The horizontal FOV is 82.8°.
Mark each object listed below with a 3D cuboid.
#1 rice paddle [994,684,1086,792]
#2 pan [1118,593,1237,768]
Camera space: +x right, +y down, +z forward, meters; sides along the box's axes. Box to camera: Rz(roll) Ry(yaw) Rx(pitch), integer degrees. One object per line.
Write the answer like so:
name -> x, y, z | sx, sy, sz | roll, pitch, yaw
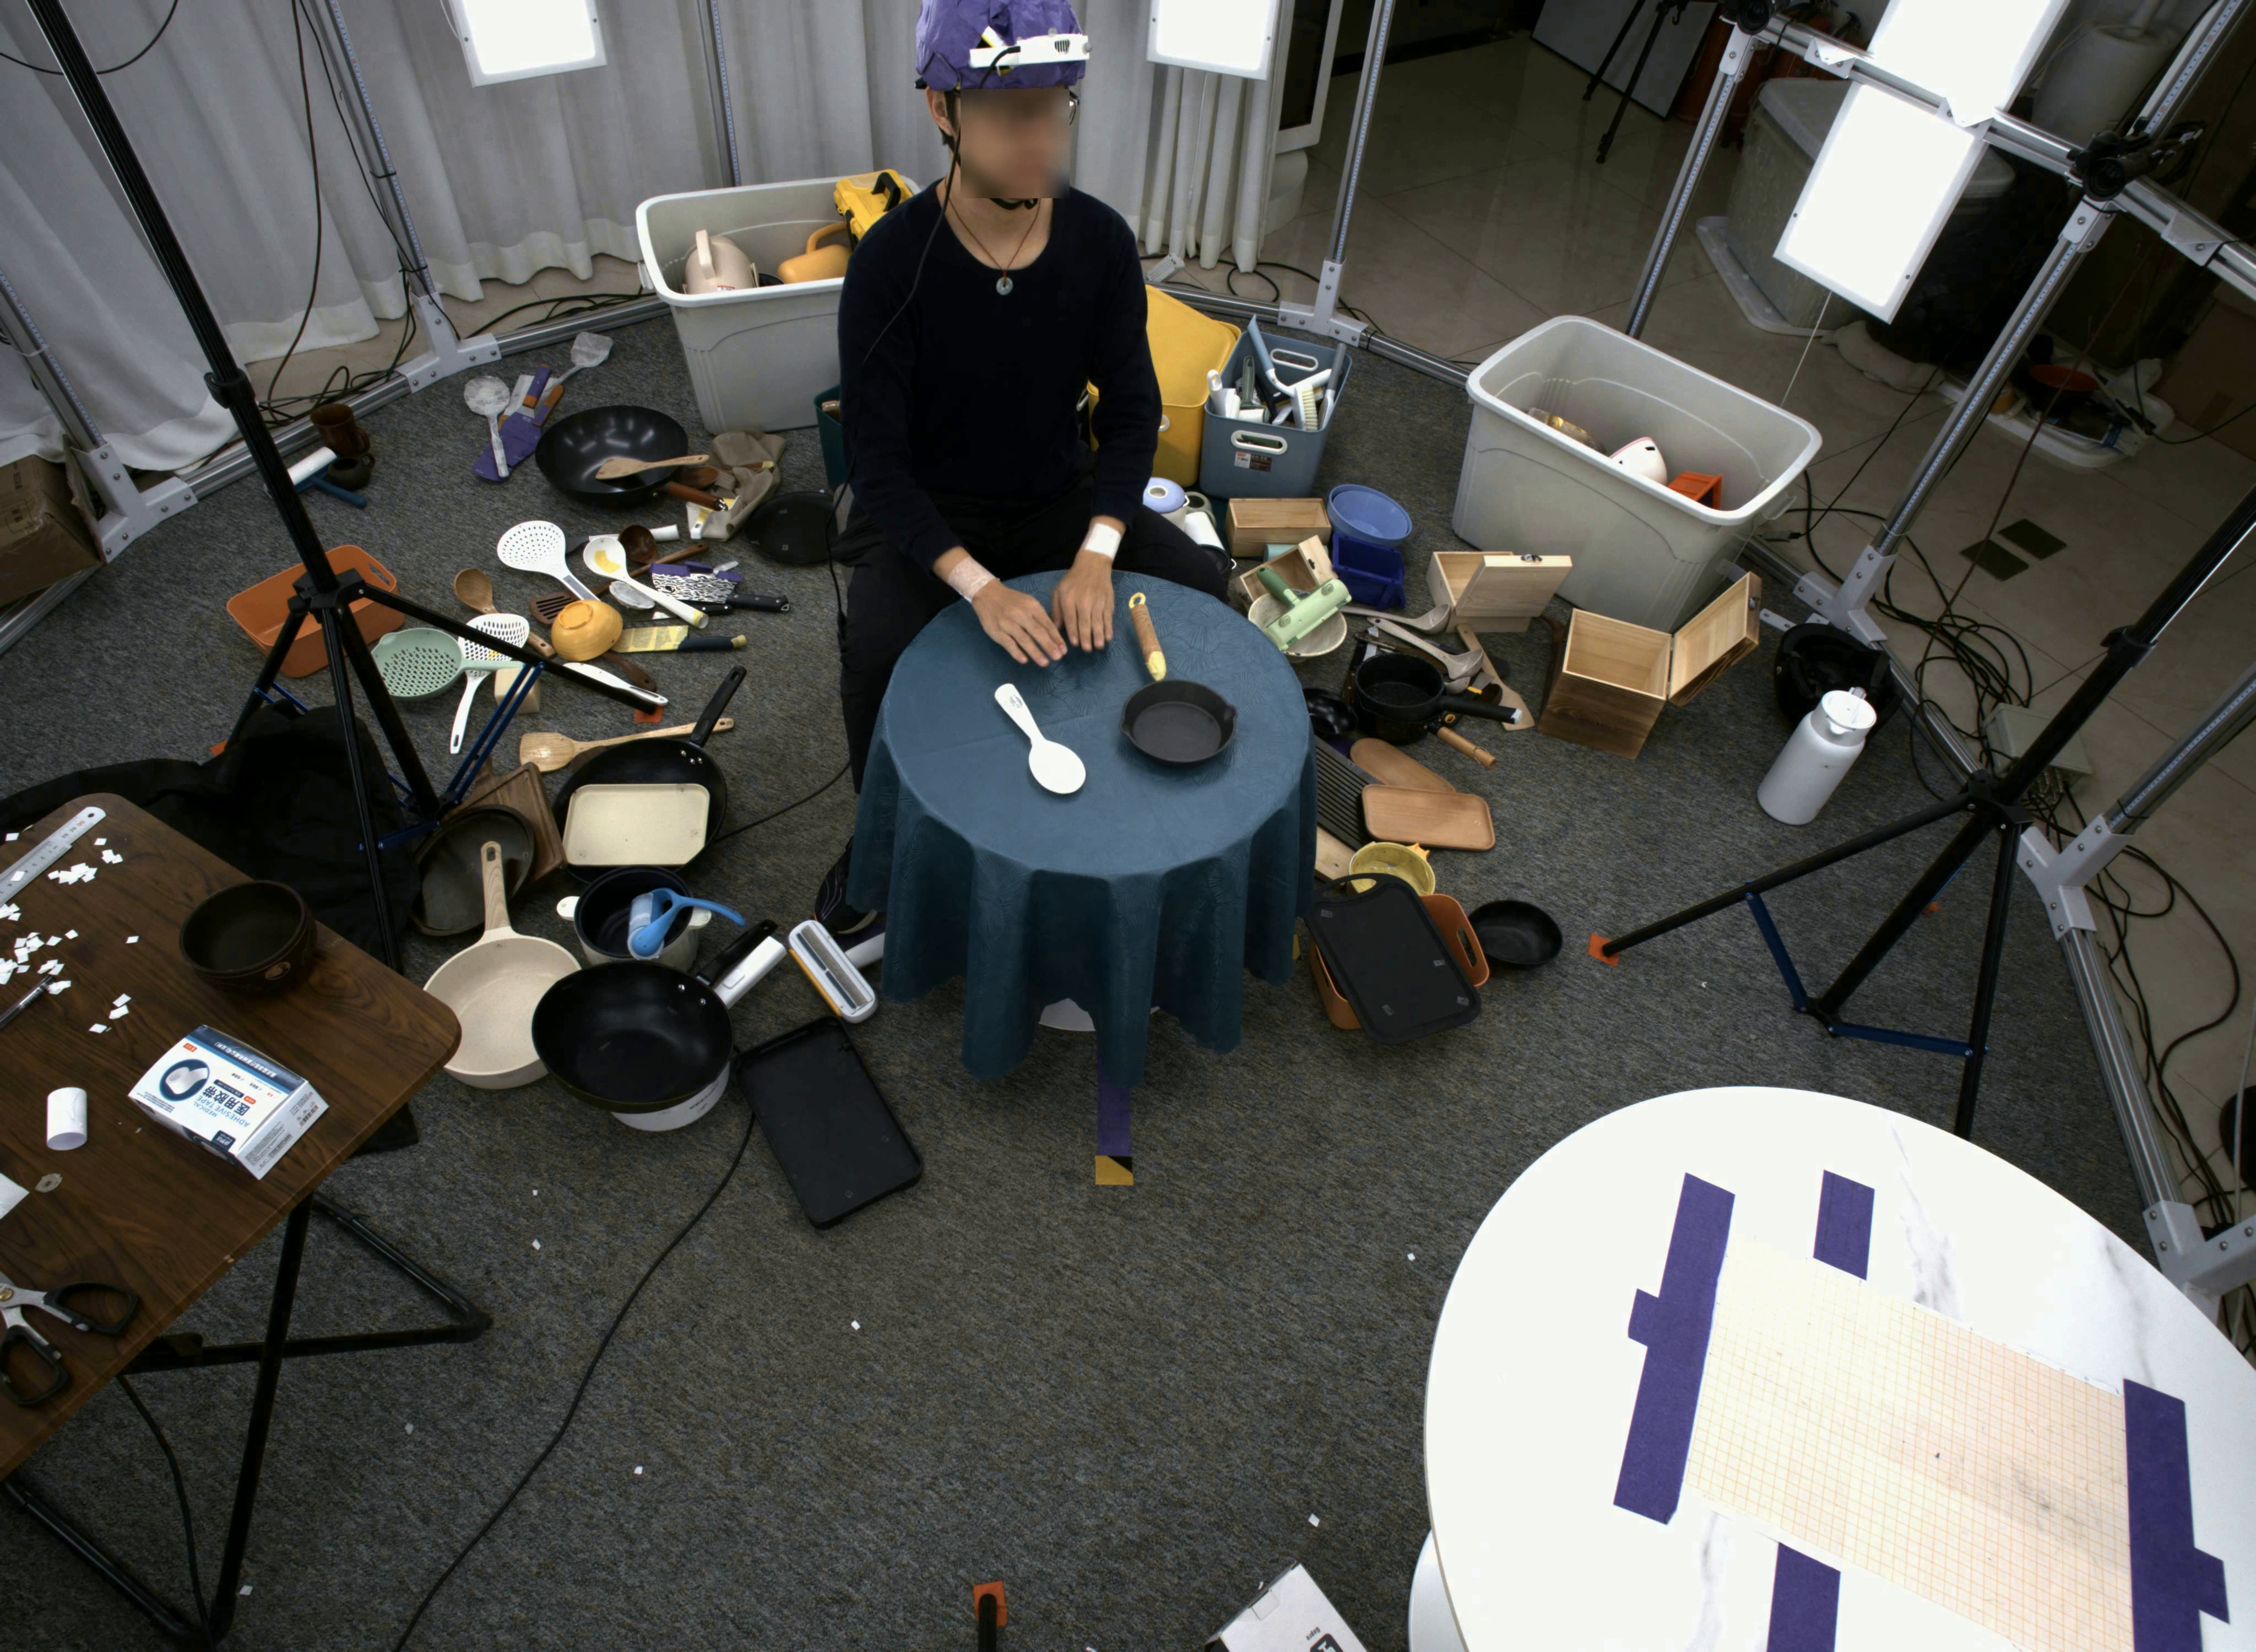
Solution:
rice paddle -> -0.123, -0.120, 1.745 | 0.069, 0.029, 0.209 | -24, 54, -18
pan -> 0.050, -0.208, 1.820 | 0.169, 0.048, 0.332 | -8, 52, -10
